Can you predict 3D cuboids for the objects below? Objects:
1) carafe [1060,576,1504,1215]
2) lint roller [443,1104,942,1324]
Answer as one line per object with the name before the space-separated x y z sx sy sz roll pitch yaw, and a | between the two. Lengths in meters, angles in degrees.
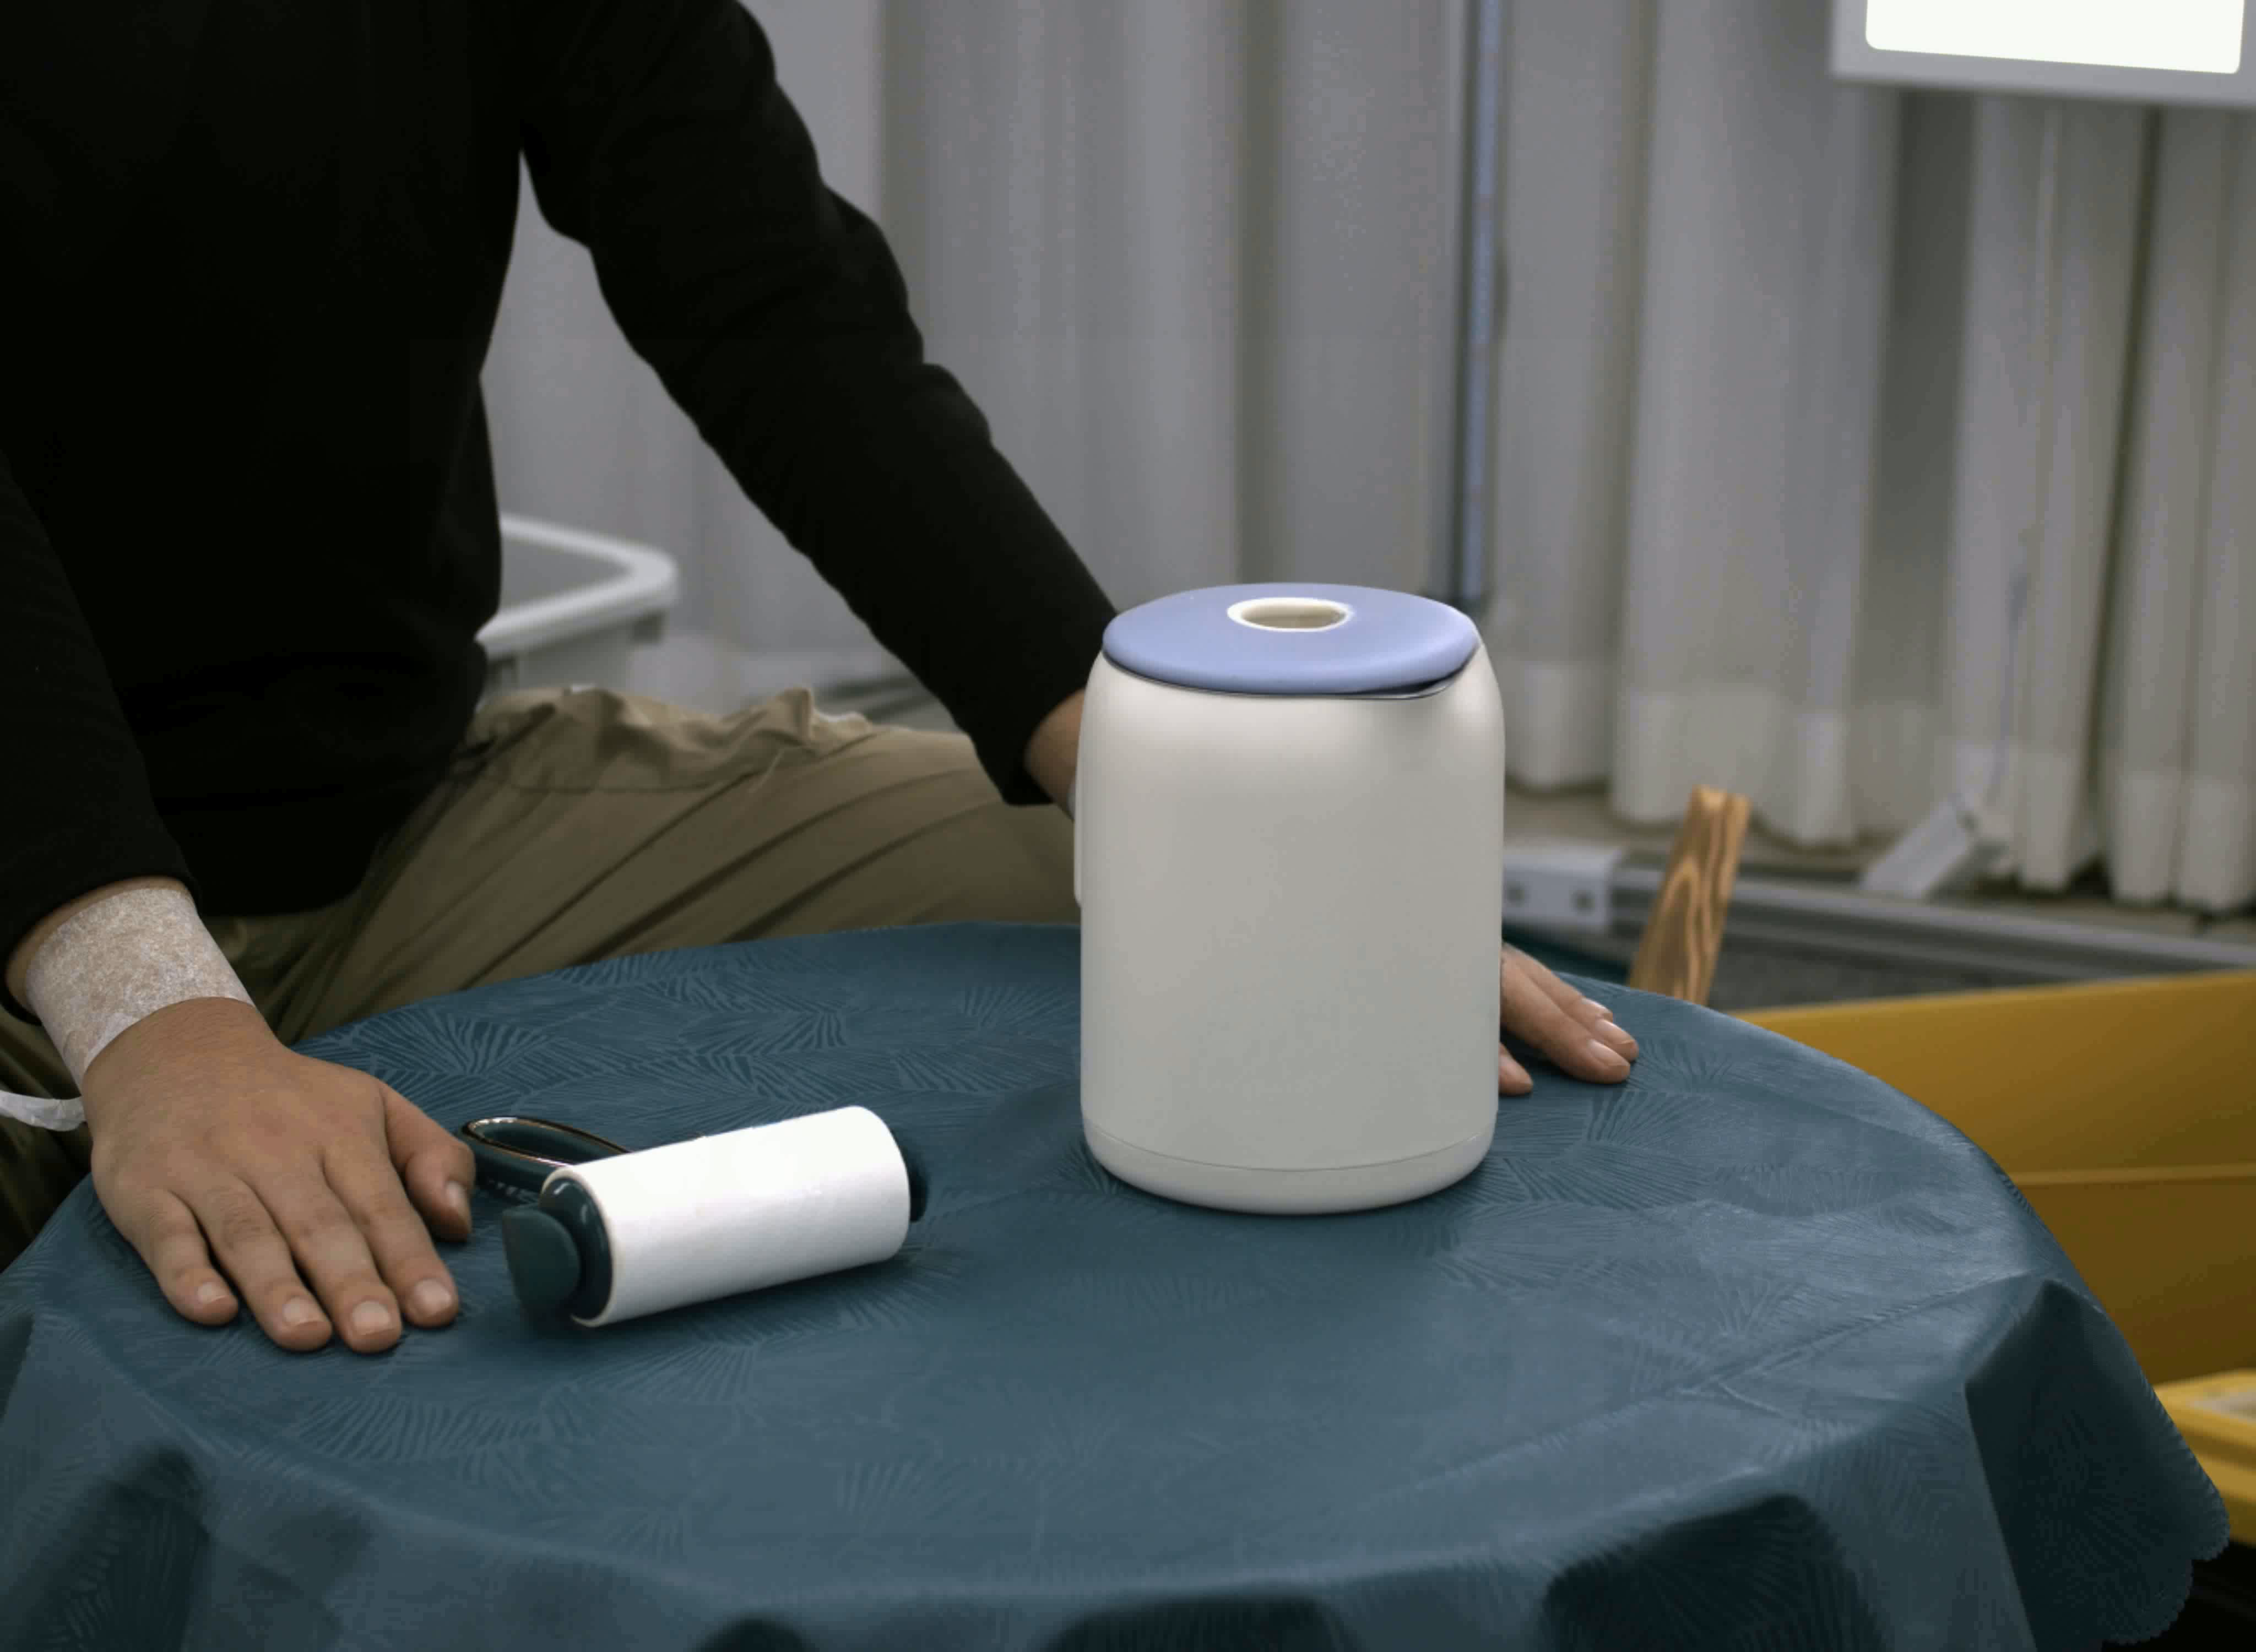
carafe | 0.037 0.015 1.650 0.133 0.184 0.188 -10 17 -33
lint roller | -0.157 0.101 1.579 0.135 0.048 0.178 -10 16 -34
